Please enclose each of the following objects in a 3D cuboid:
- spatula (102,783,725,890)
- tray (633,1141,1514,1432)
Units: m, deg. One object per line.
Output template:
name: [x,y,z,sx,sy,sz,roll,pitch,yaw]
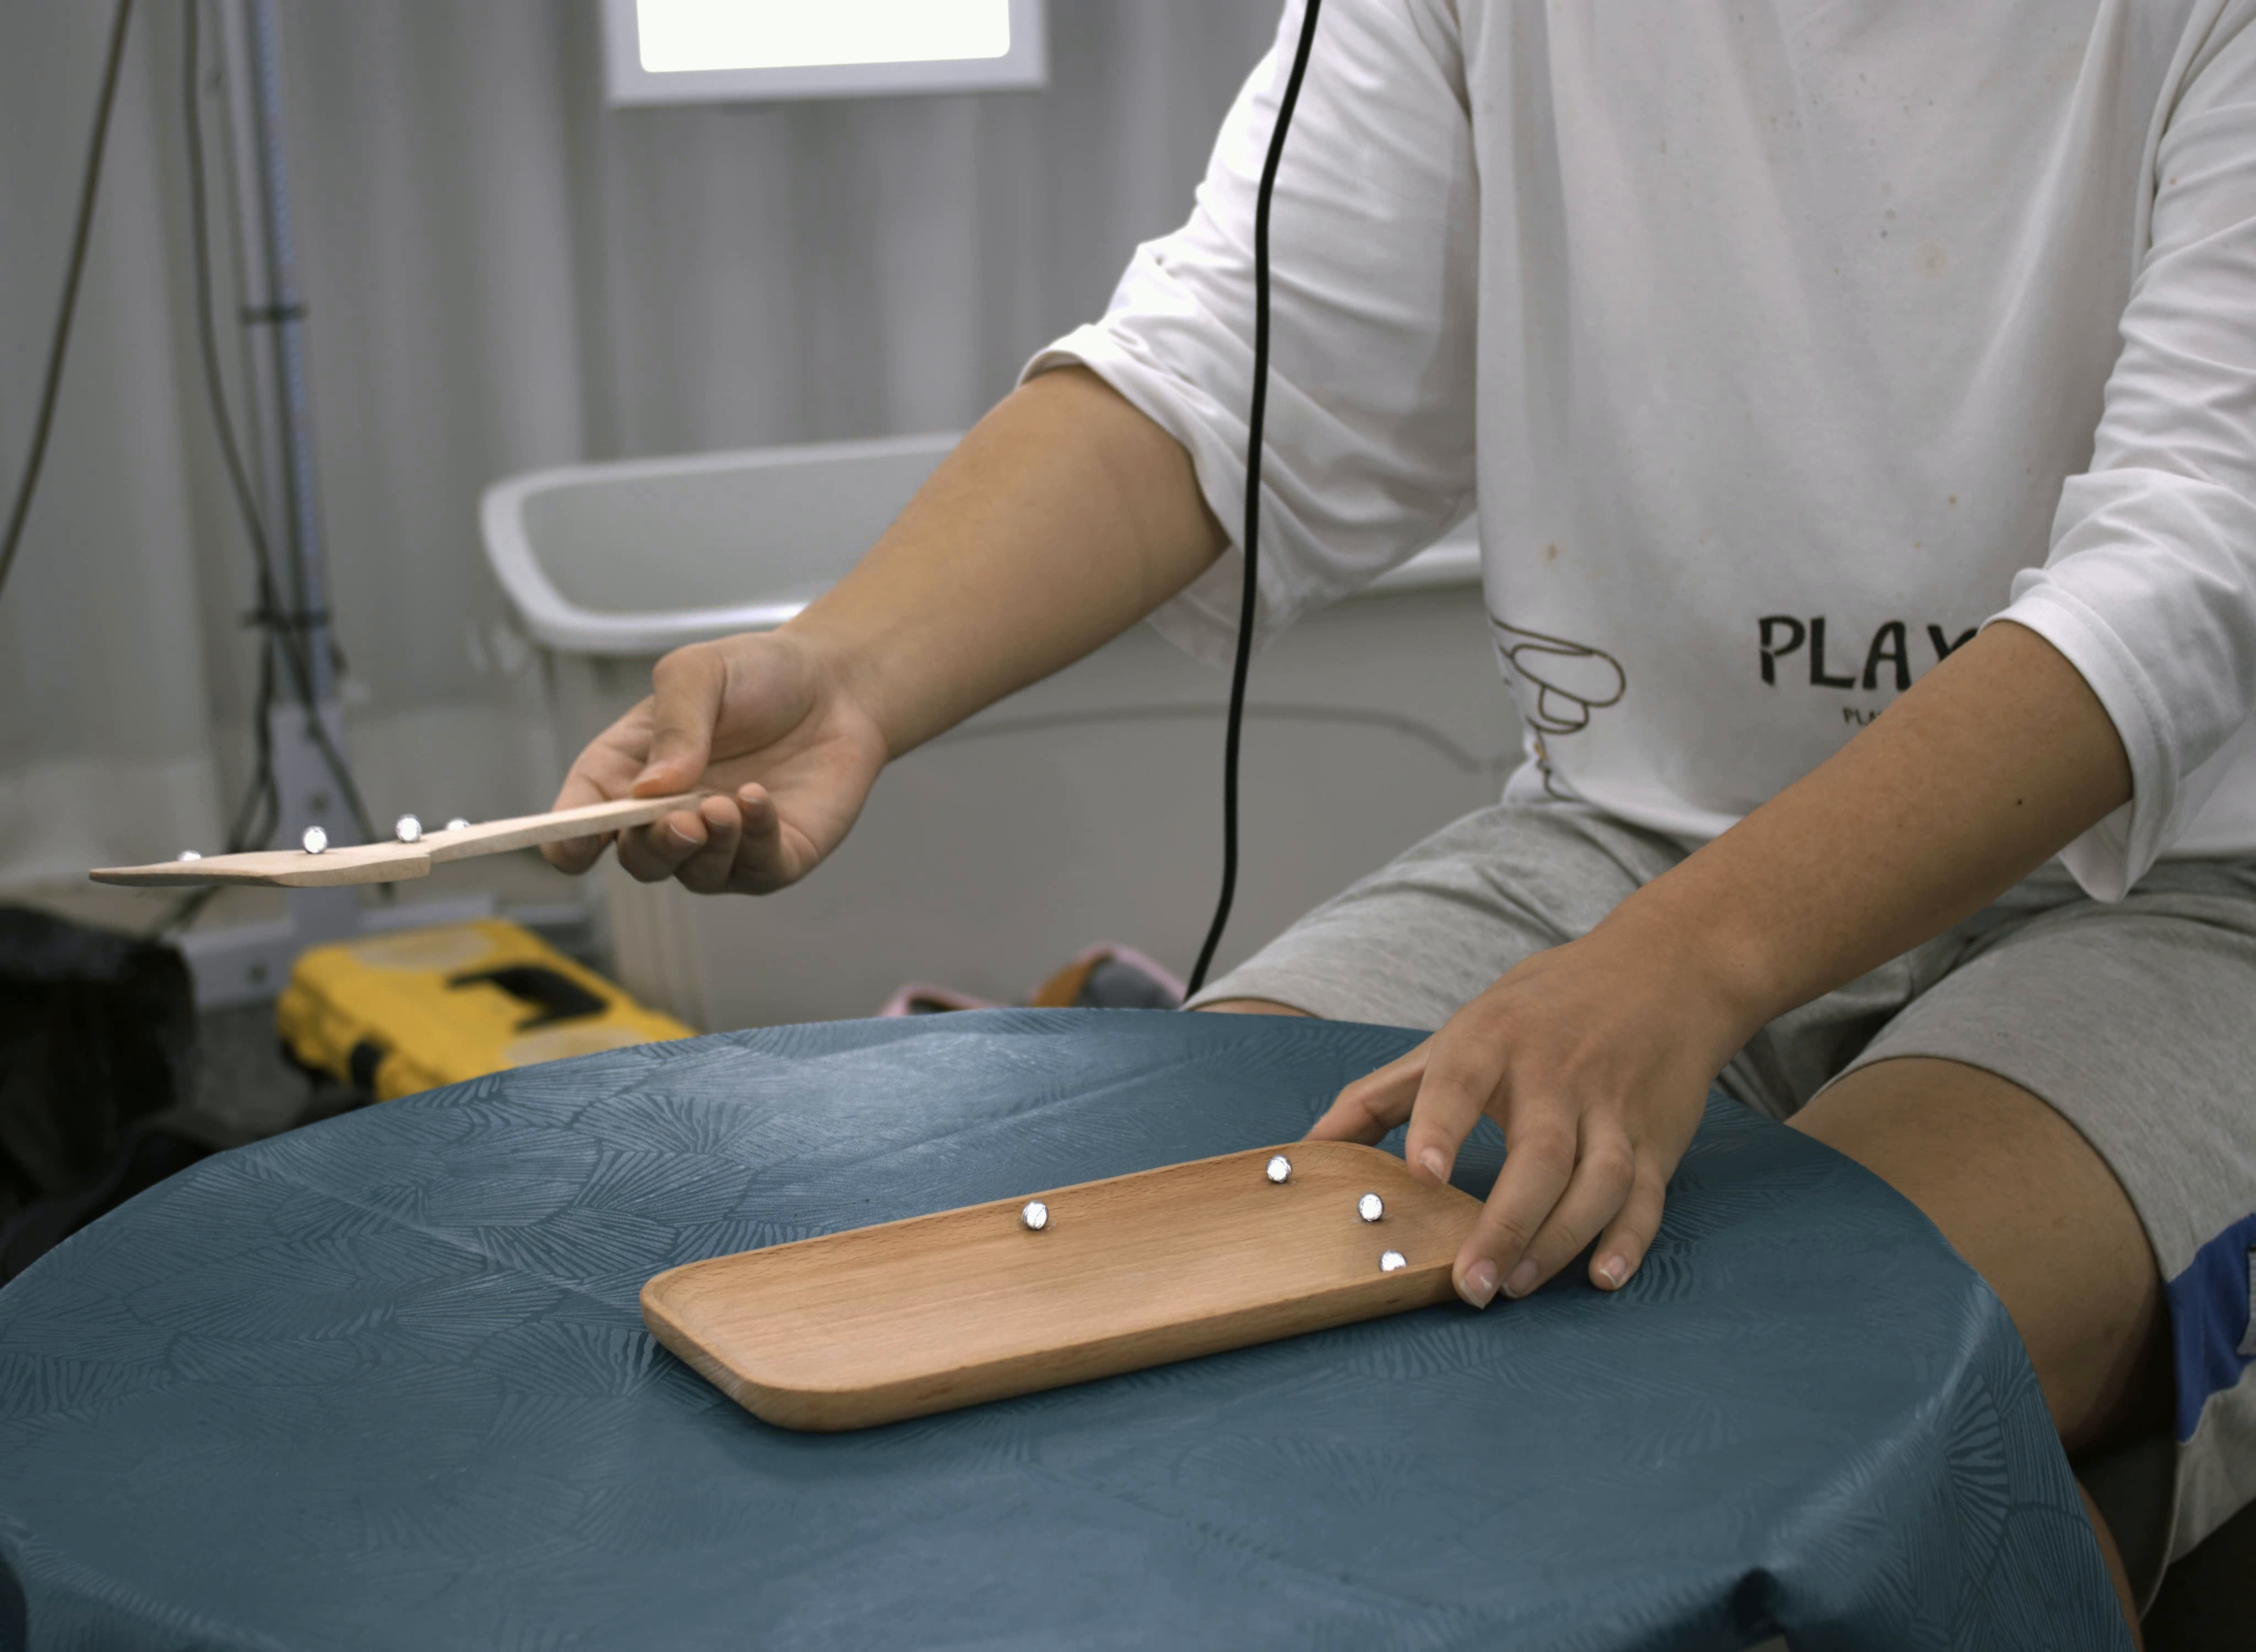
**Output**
spatula: [-0.209,0.003,1.716,0.072,0.010,0.292,1,6,26]
tray: [-0.015,0.135,1.616,0.249,0.023,0.131,-10,14,-24]
